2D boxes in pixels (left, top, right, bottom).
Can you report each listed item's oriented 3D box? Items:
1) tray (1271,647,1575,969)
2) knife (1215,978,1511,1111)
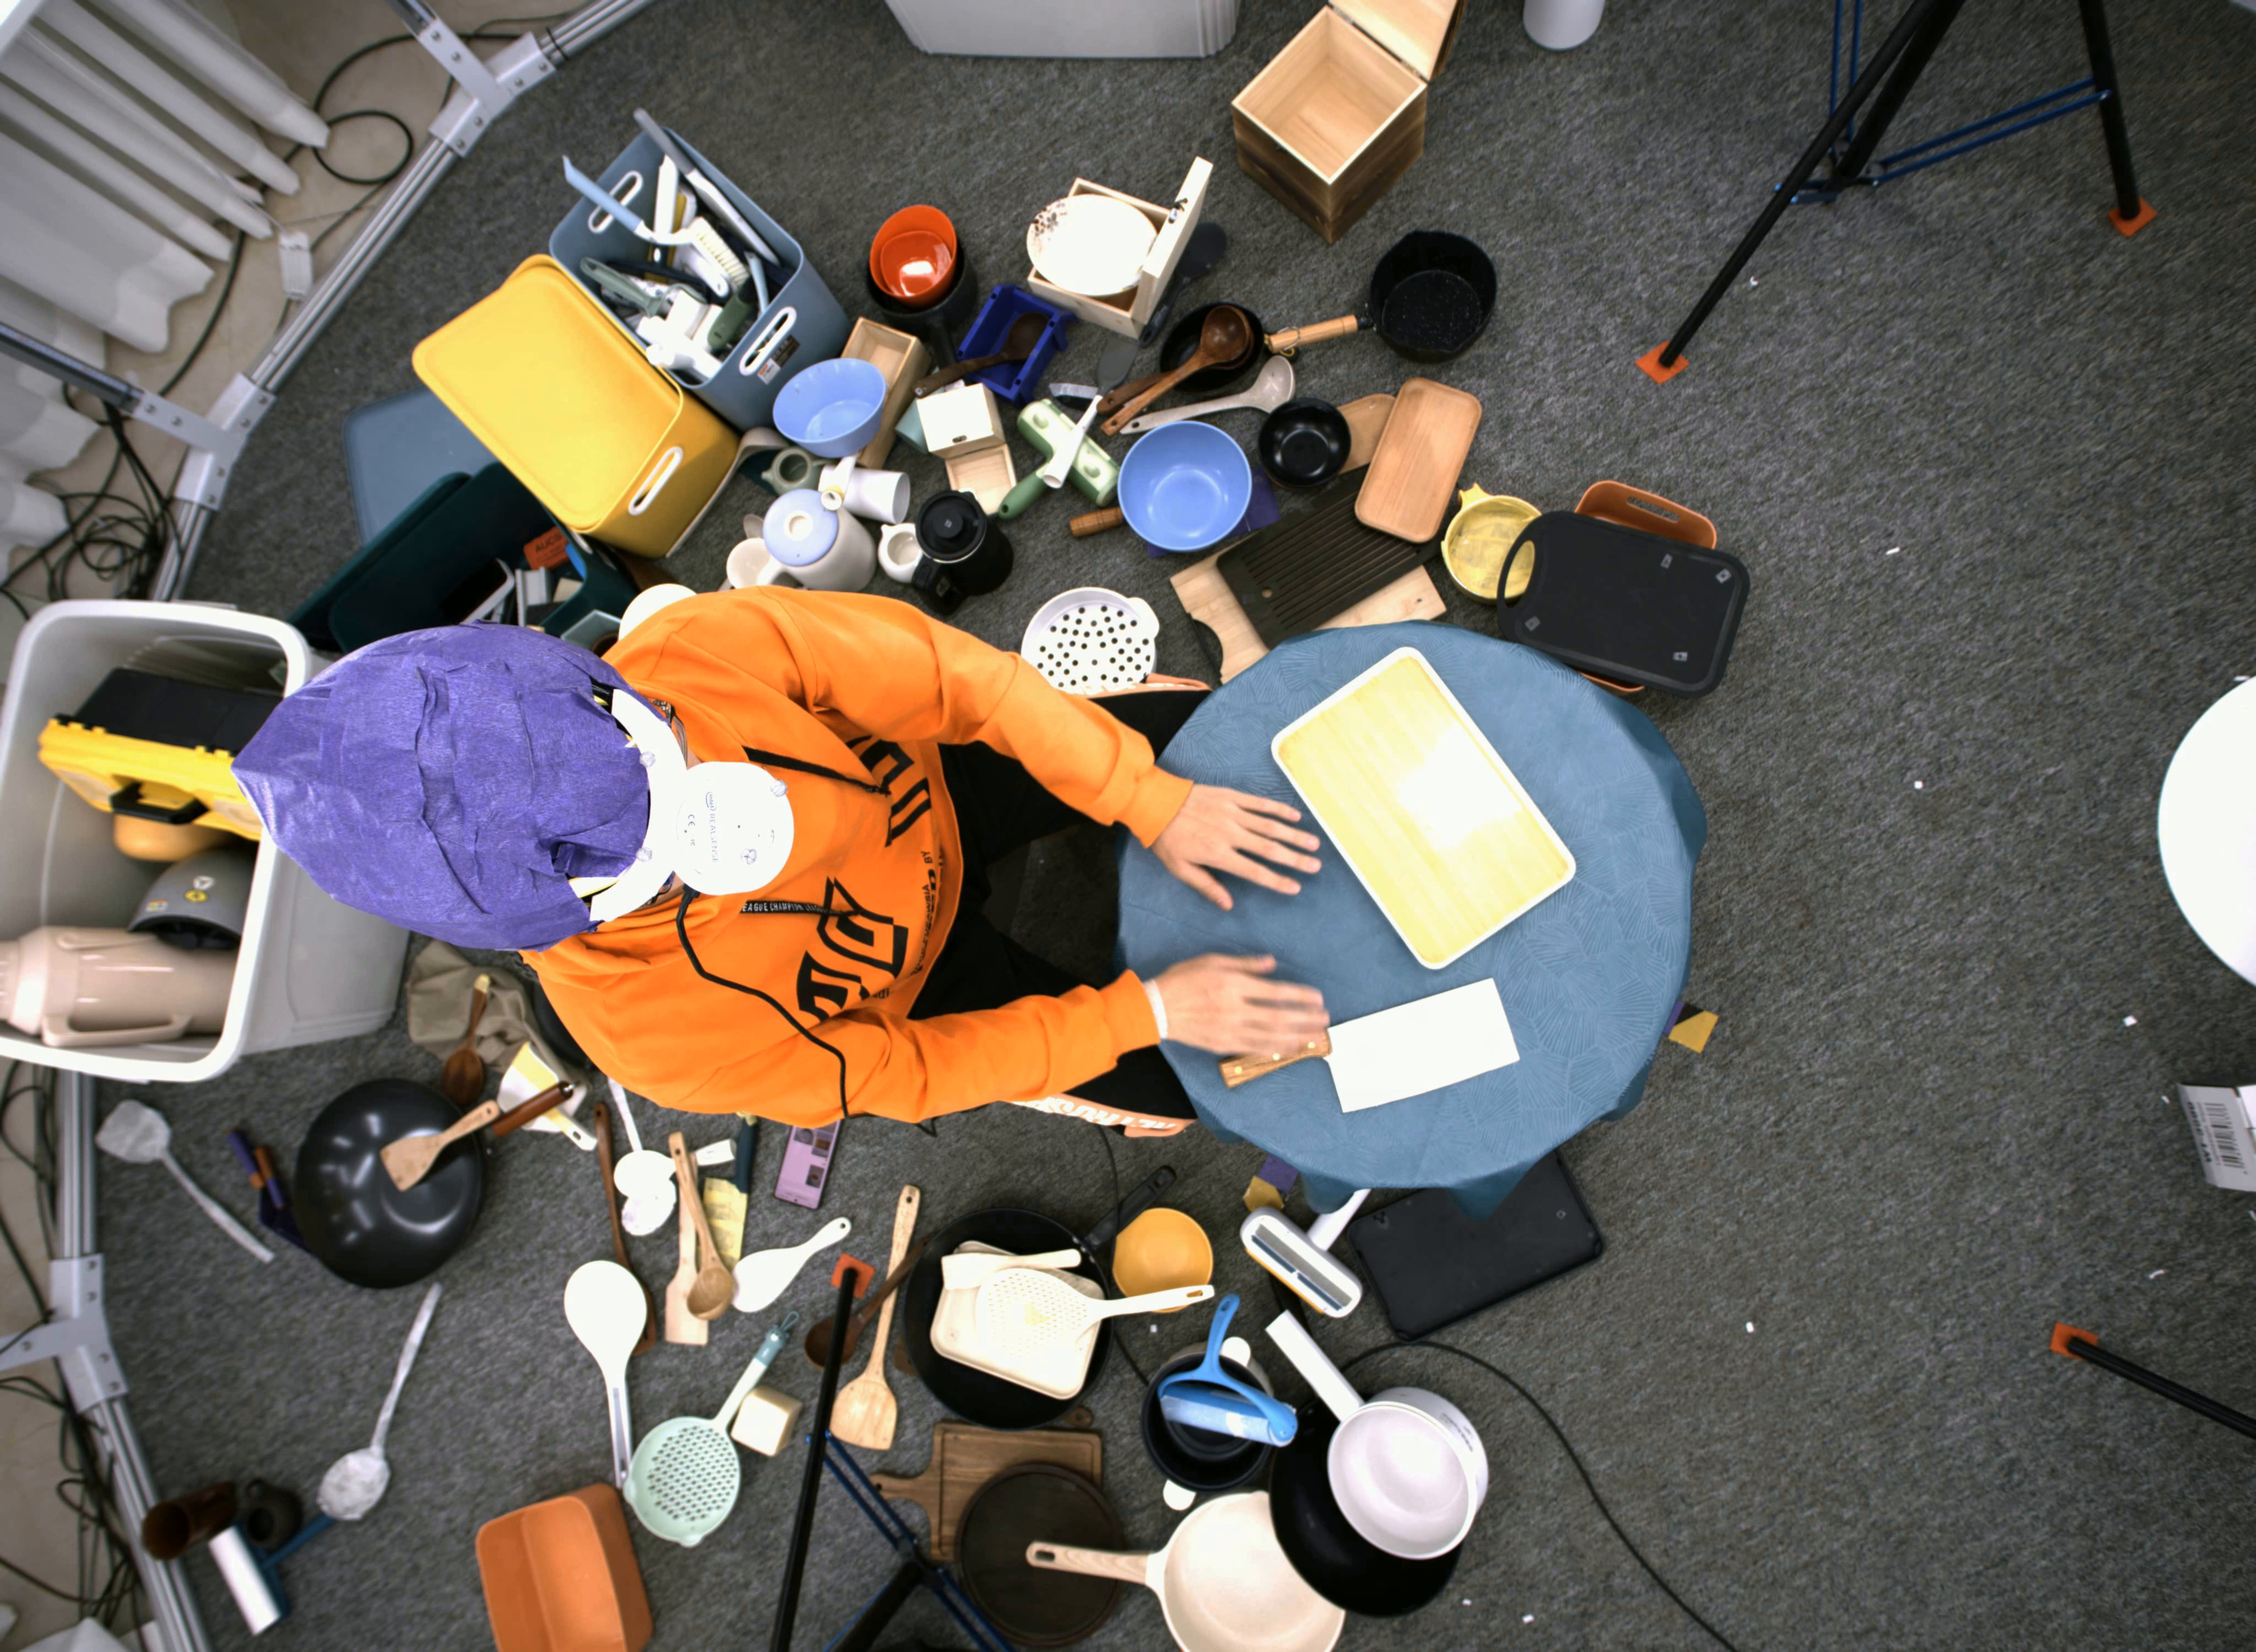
[{"bbox_3d":[0.307,-0.021,1.444,0.192,0.027,0.298,-35,82,6],"label":"tray"},{"bbox_3d":[0.247,0.243,1.447,0.307,0.021,0.092,-18,86,7],"label":"knife"}]
